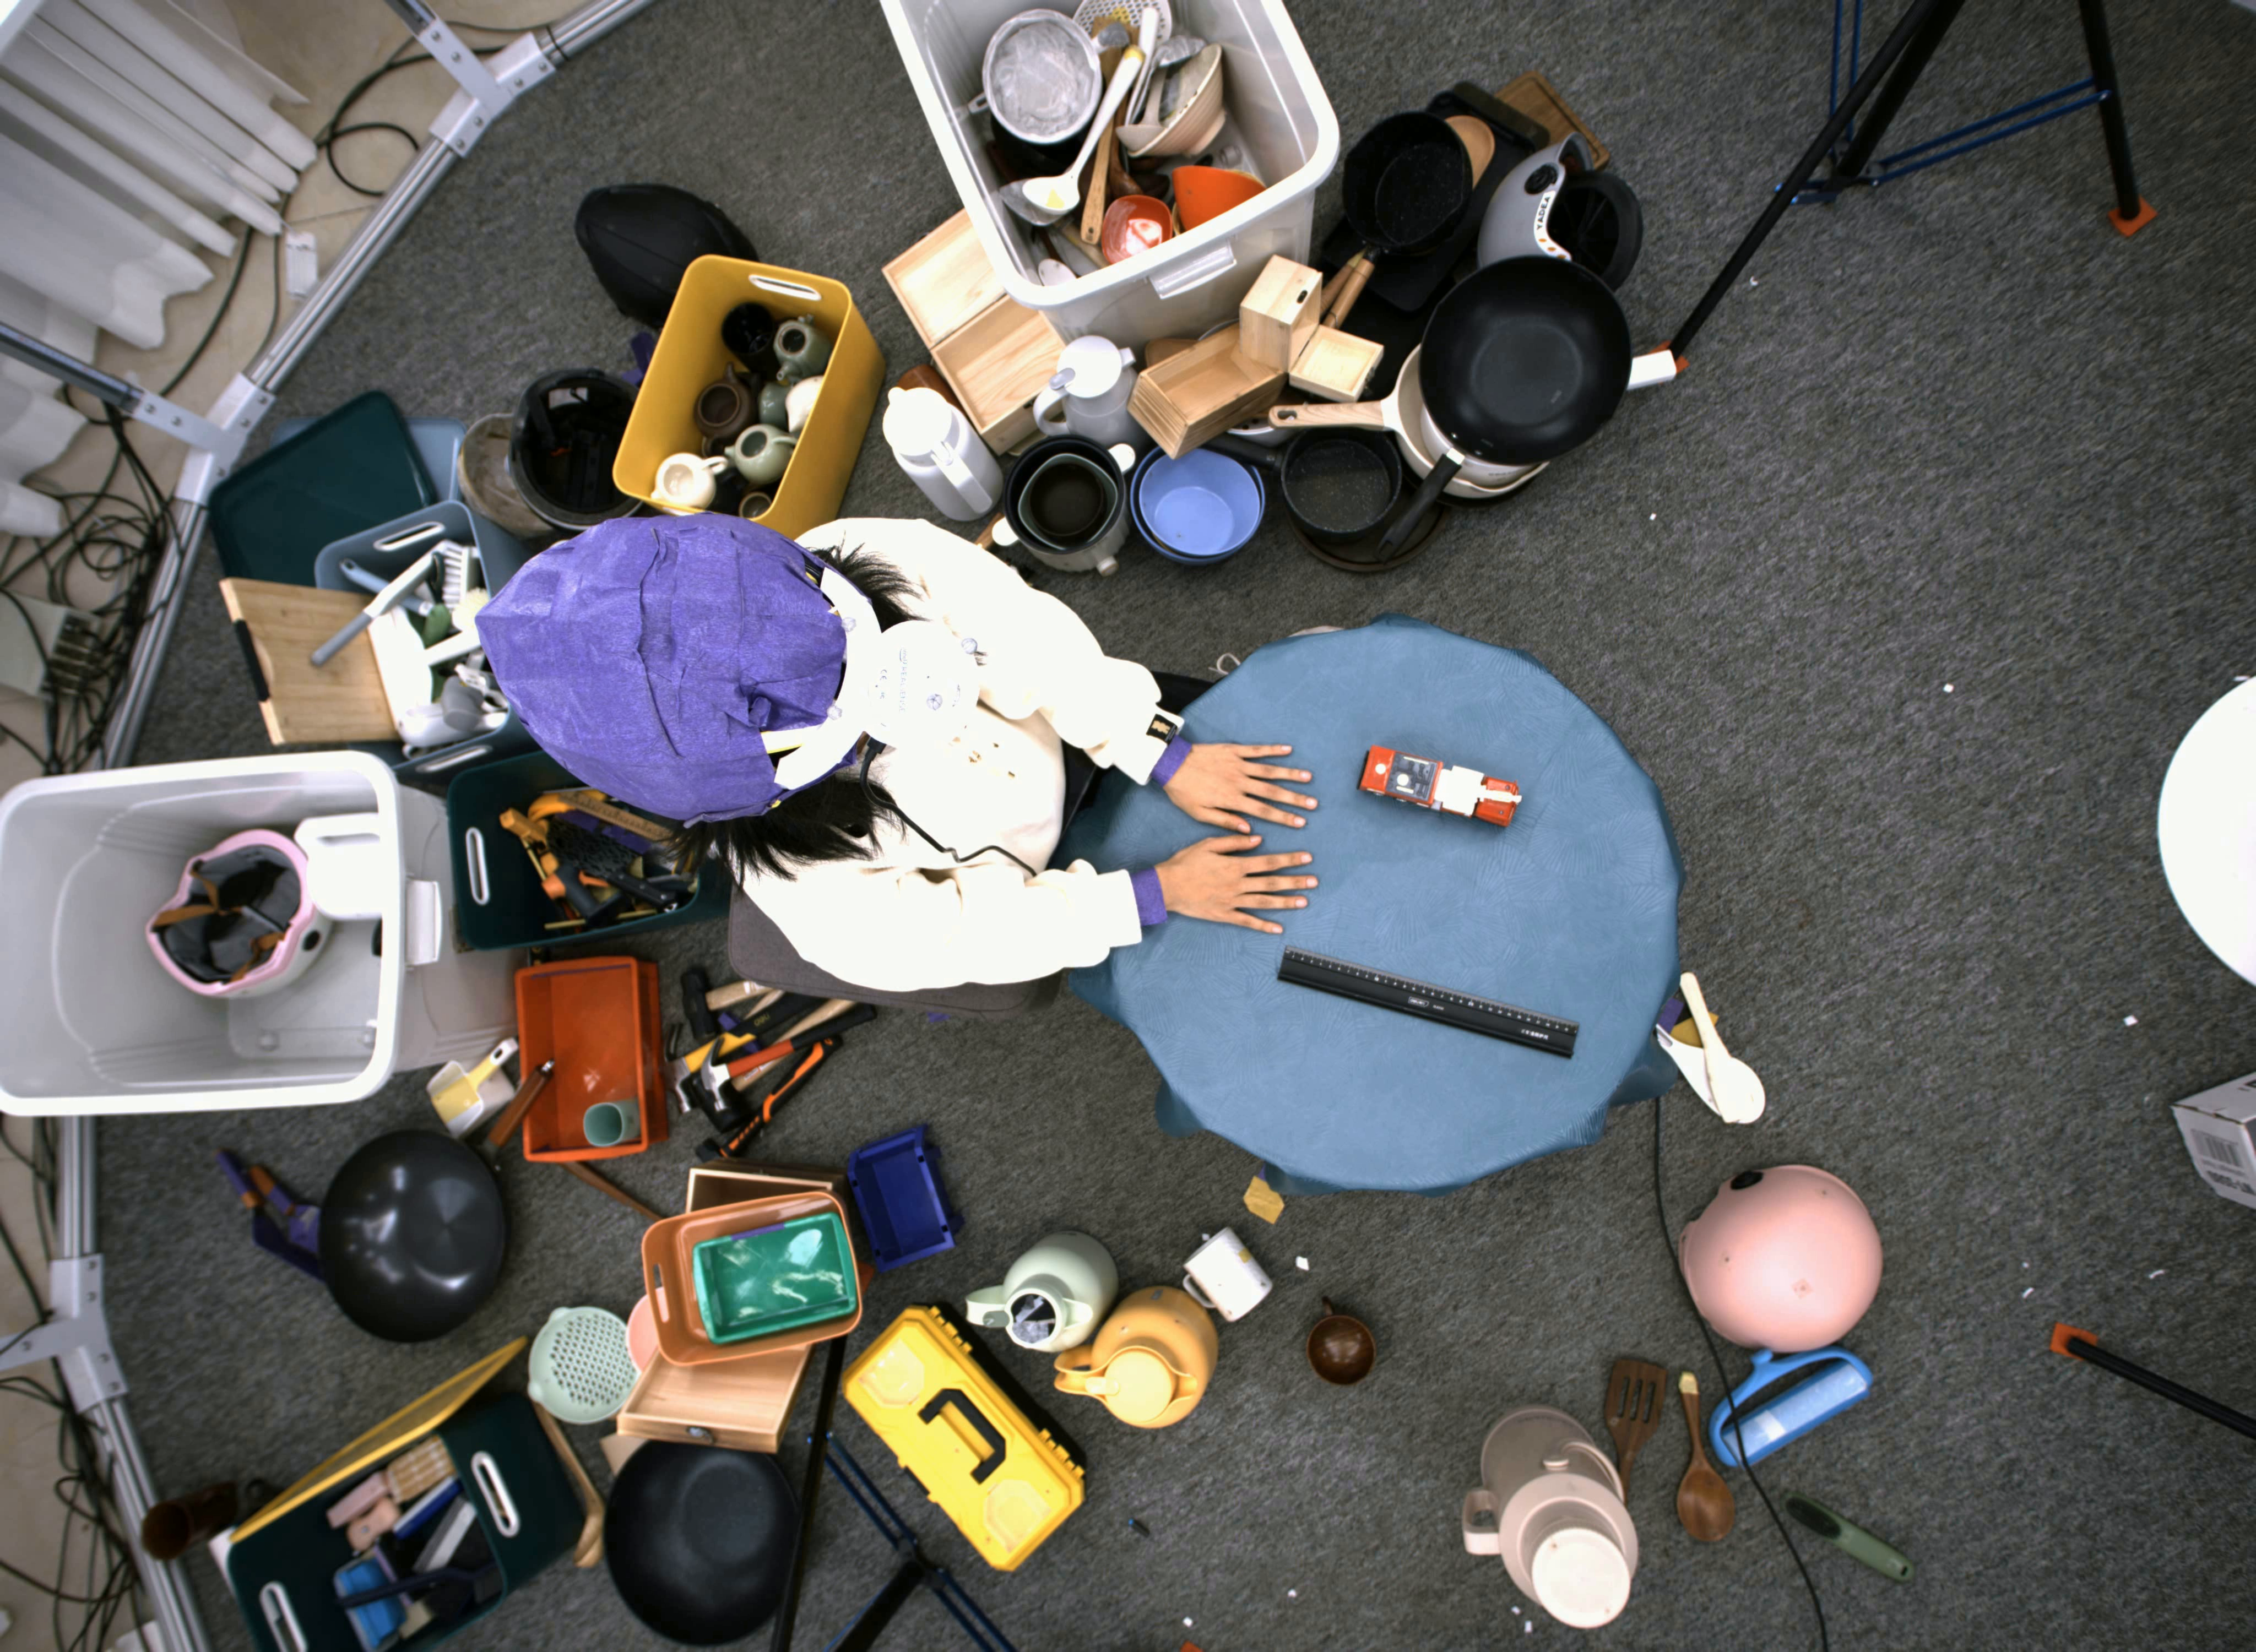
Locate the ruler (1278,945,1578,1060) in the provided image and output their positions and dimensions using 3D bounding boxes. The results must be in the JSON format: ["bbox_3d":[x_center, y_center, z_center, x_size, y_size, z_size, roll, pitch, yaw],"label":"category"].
[{"bbox_3d":[0.311,0.181,1.438,0.313,0.017,0.039,15,86,11],"label":"ruler"}]

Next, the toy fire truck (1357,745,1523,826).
[{"bbox_3d":[0.324,-0.044,1.427,0.168,0.070,0.054,15,88,12],"label":"toy fire truck"}]
